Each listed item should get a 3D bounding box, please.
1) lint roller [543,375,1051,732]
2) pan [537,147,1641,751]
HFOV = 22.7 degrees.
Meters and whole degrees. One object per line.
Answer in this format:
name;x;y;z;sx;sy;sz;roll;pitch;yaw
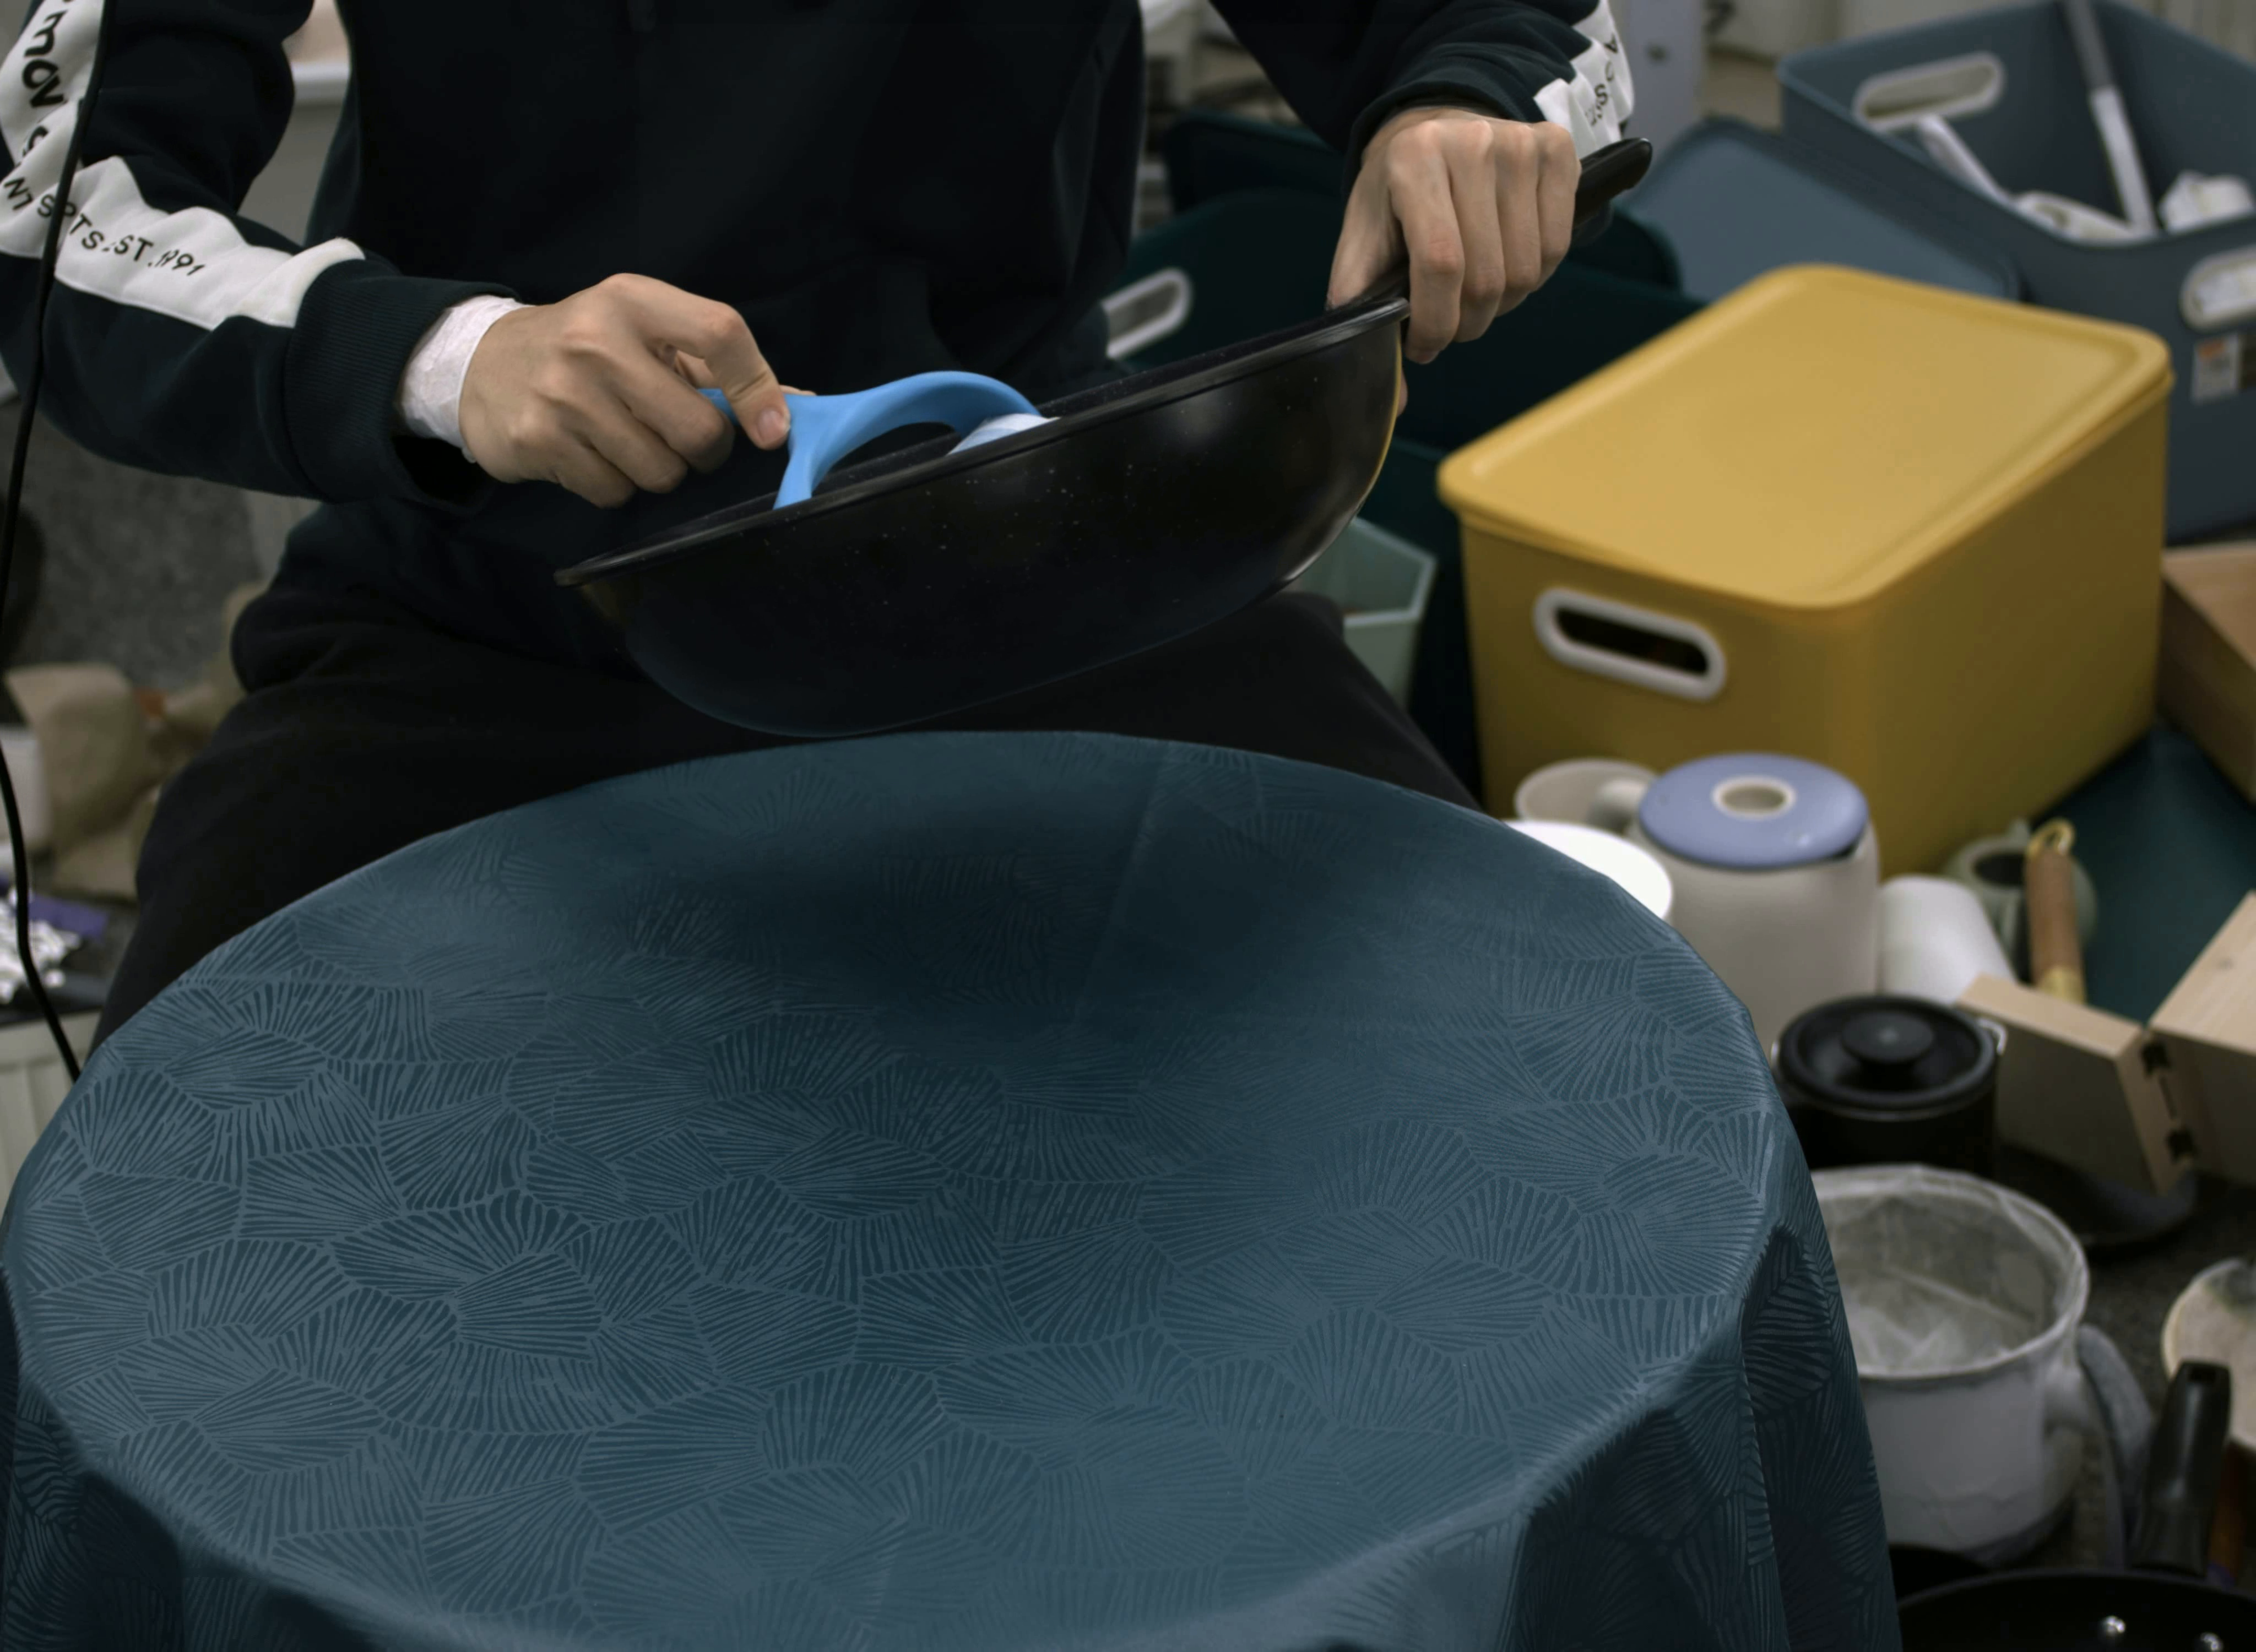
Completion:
lint roller;-0.115;-0.114;1.957;0.180;0.067;0.232;23;26;5
pan;0.018;-0.127;1.979;0.481;0.112;0.307;-22;8;-35
